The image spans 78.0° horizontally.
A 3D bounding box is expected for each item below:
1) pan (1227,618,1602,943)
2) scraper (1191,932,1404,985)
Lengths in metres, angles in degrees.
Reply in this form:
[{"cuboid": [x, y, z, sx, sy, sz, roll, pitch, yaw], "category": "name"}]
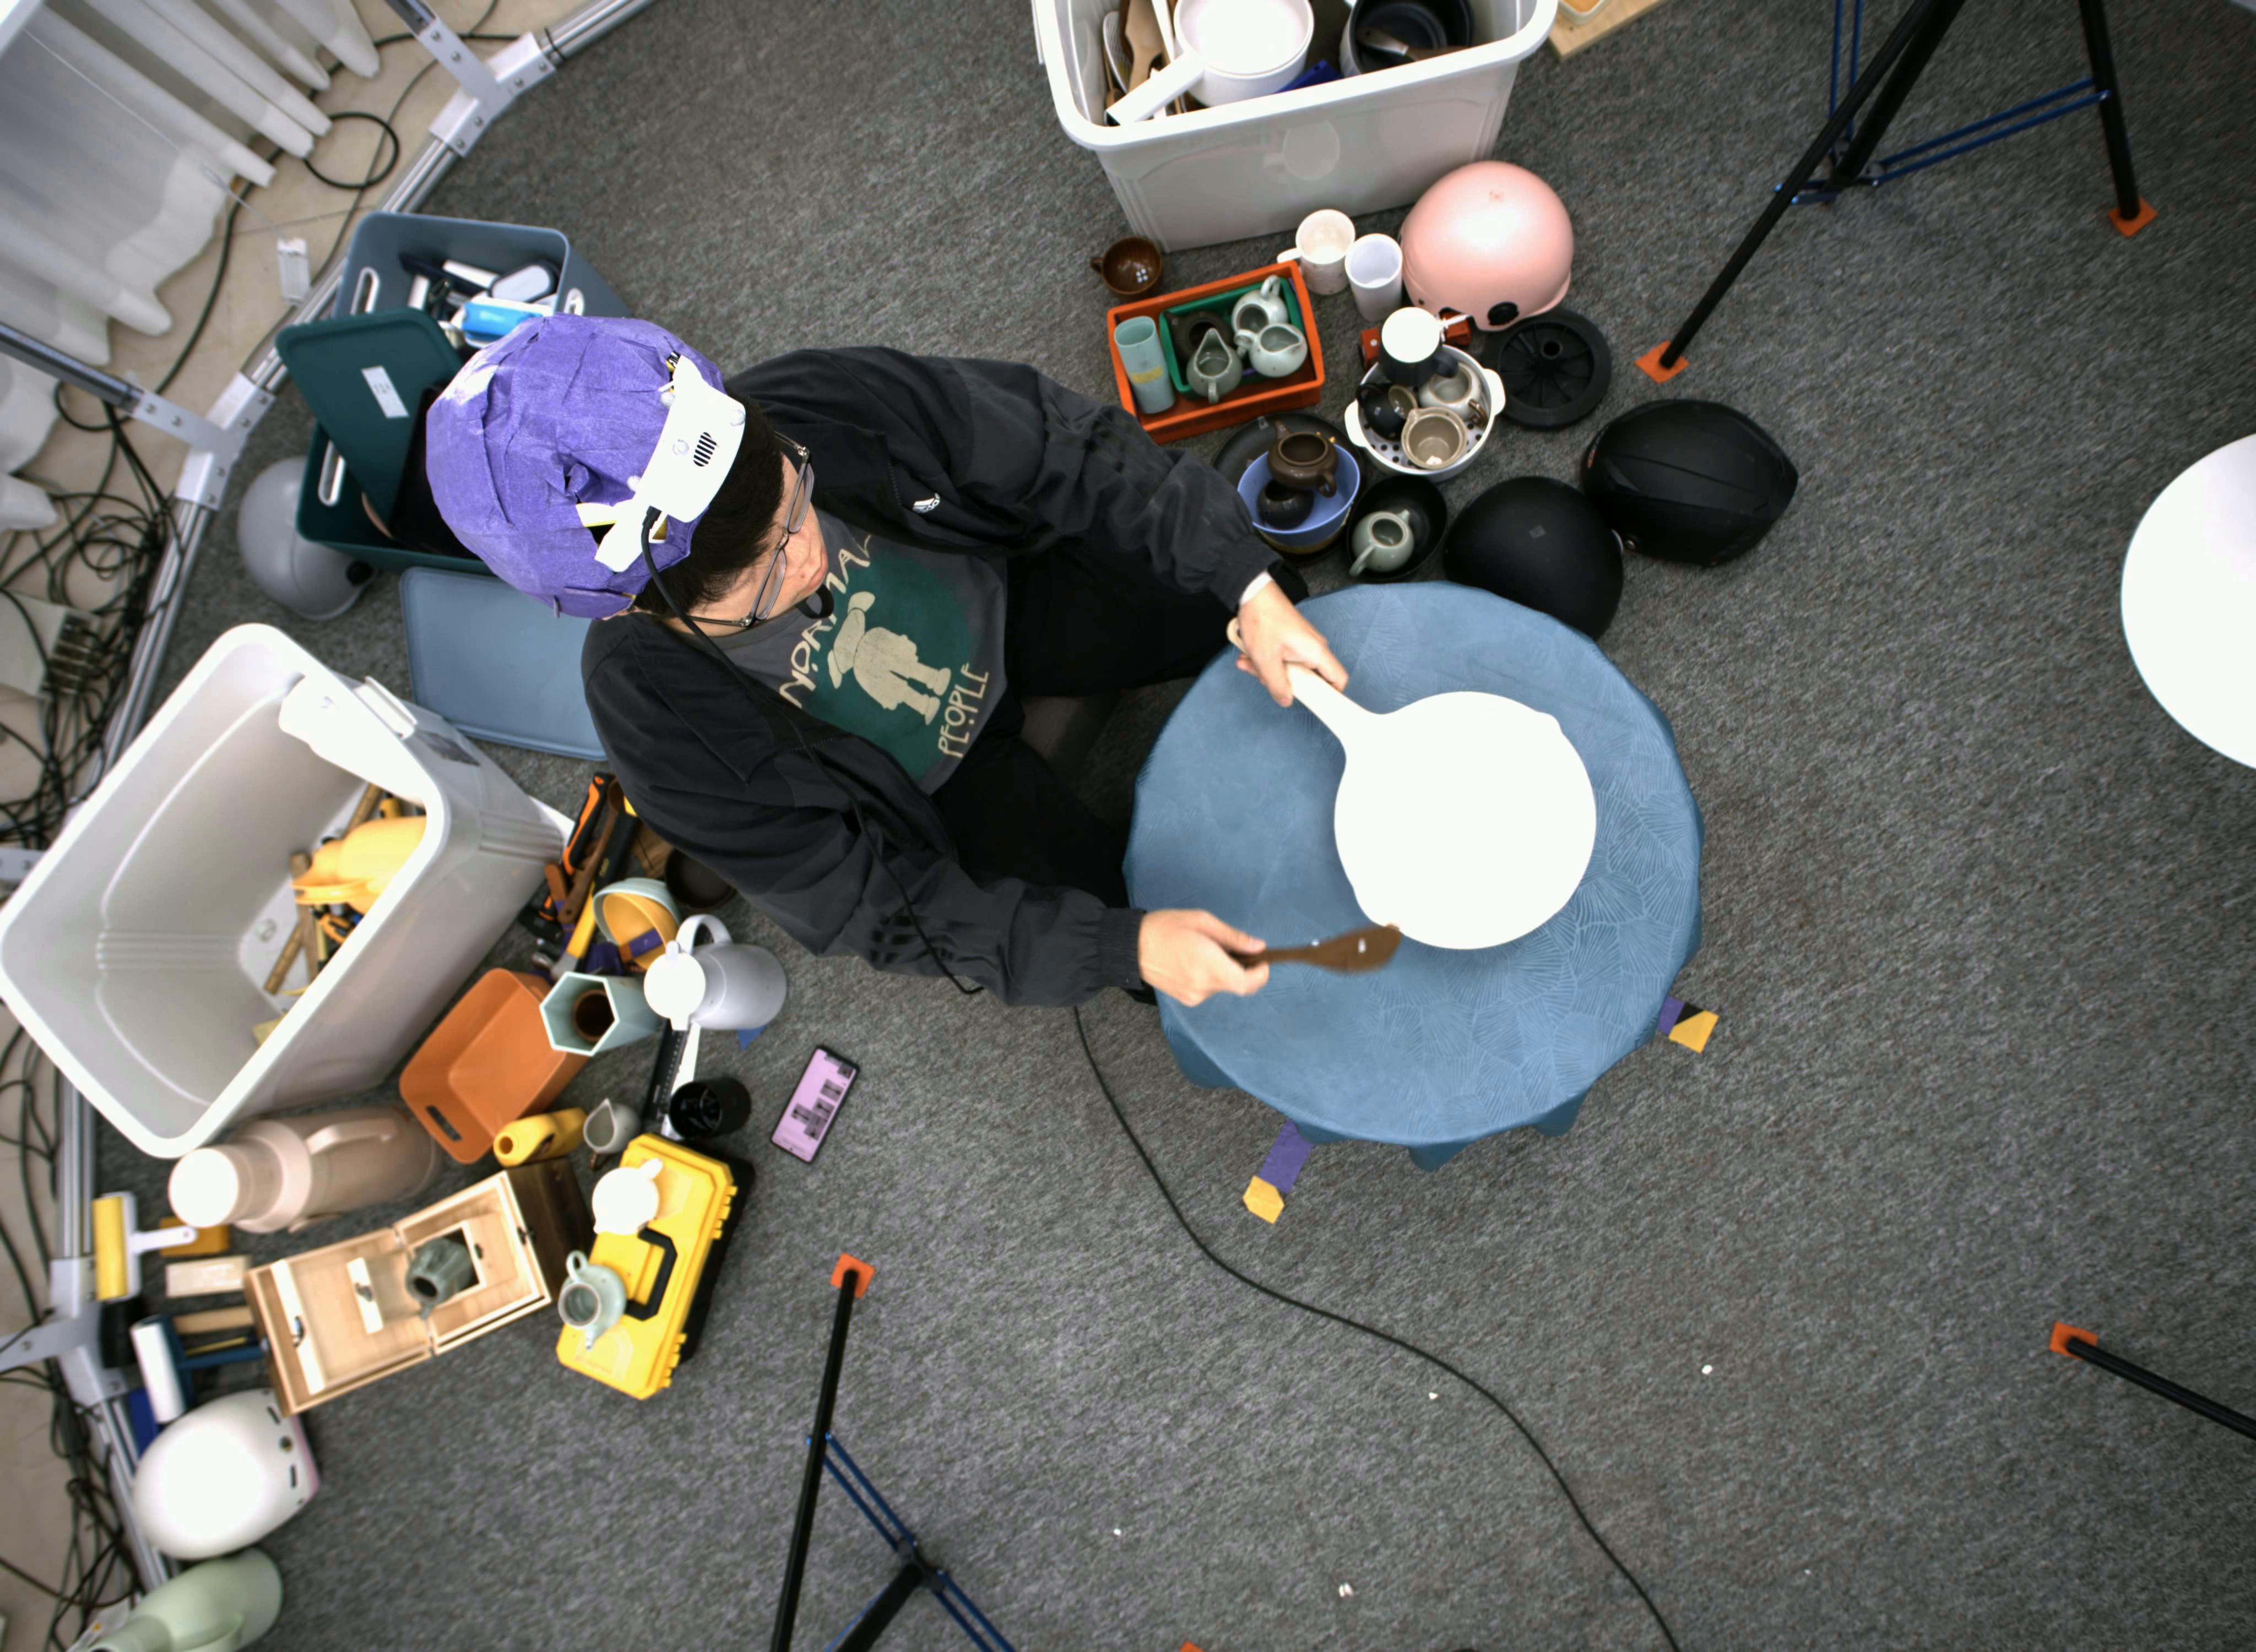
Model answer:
[{"cuboid": [0.280, -0.071, 1.398, 0.432, 0.101, 0.267, 43, 107, 16], "category": "pan"}, {"cuboid": [0.156, 0.128, 1.308, 0.213, 0.074, 0.011, -6, 119, 29], "category": "scraper"}]
